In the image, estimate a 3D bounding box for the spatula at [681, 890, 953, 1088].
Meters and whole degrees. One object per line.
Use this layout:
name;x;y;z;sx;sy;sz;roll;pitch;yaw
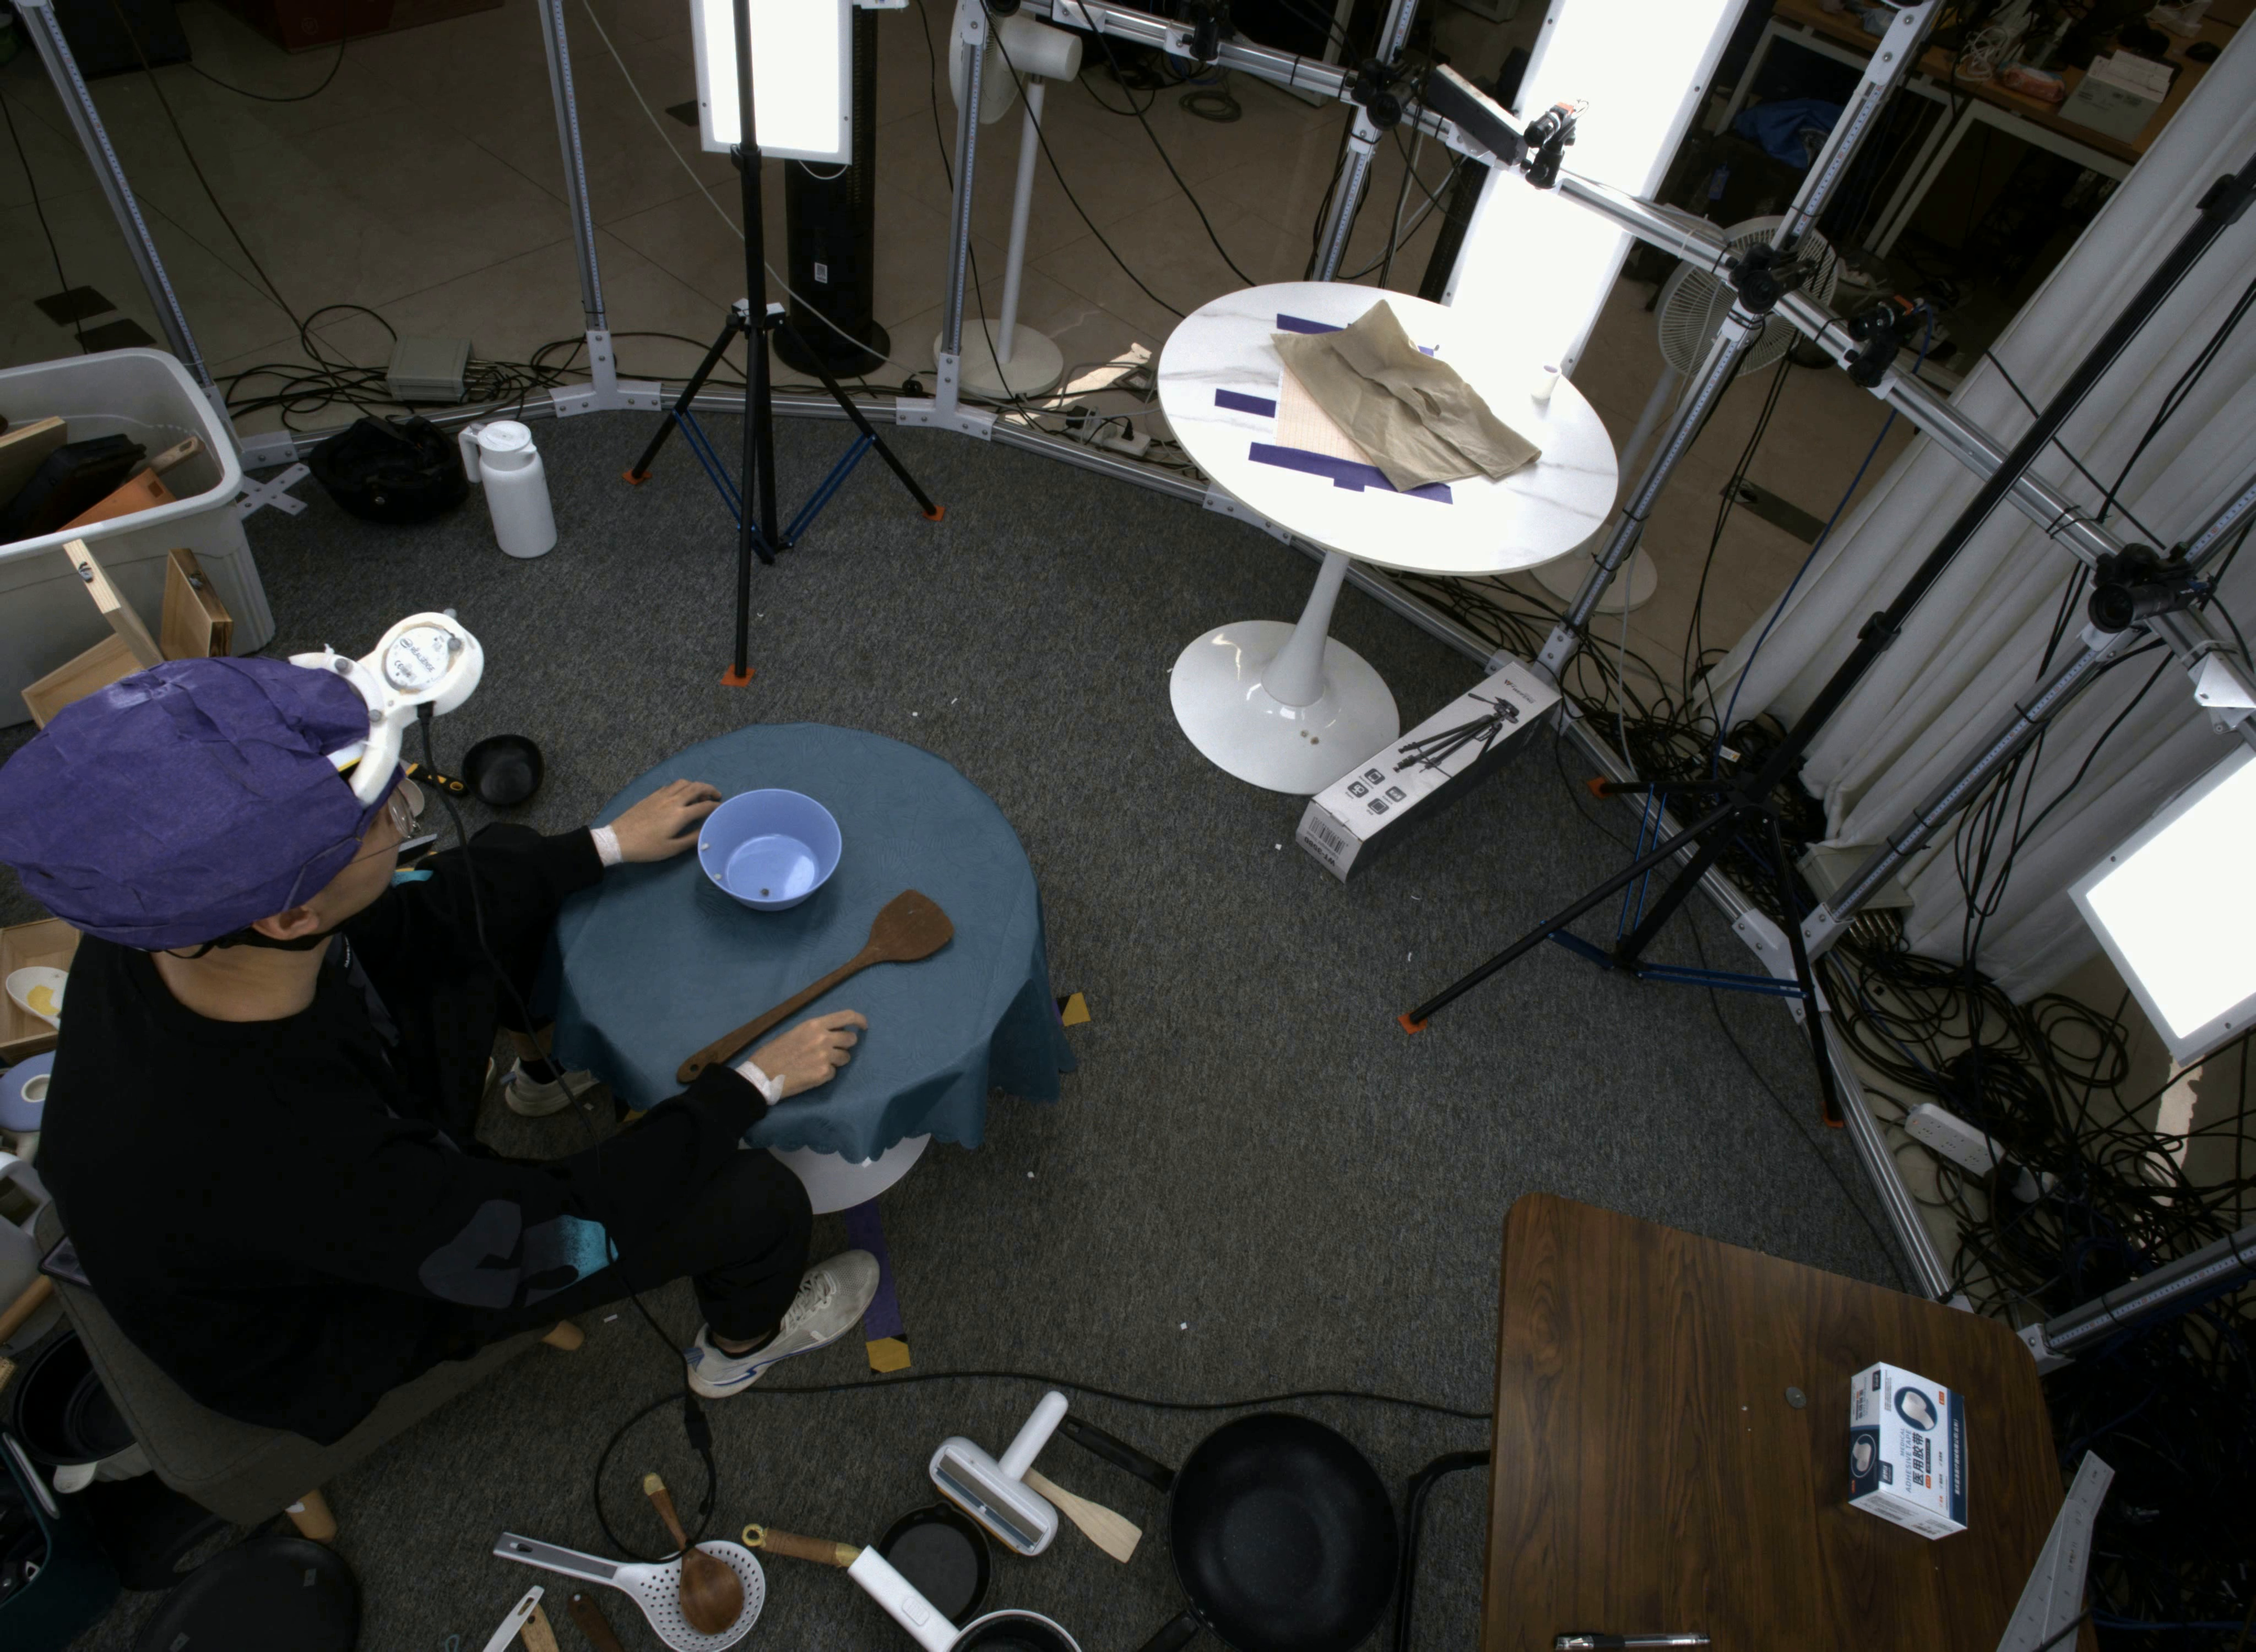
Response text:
spatula;-0.379;0.199;1.583;0.387;0.016;0.094;-35;68;-32

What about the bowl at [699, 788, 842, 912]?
bowl;-0.452;0.040;1.647;0.175;0.072;0.173;7;53;-7
